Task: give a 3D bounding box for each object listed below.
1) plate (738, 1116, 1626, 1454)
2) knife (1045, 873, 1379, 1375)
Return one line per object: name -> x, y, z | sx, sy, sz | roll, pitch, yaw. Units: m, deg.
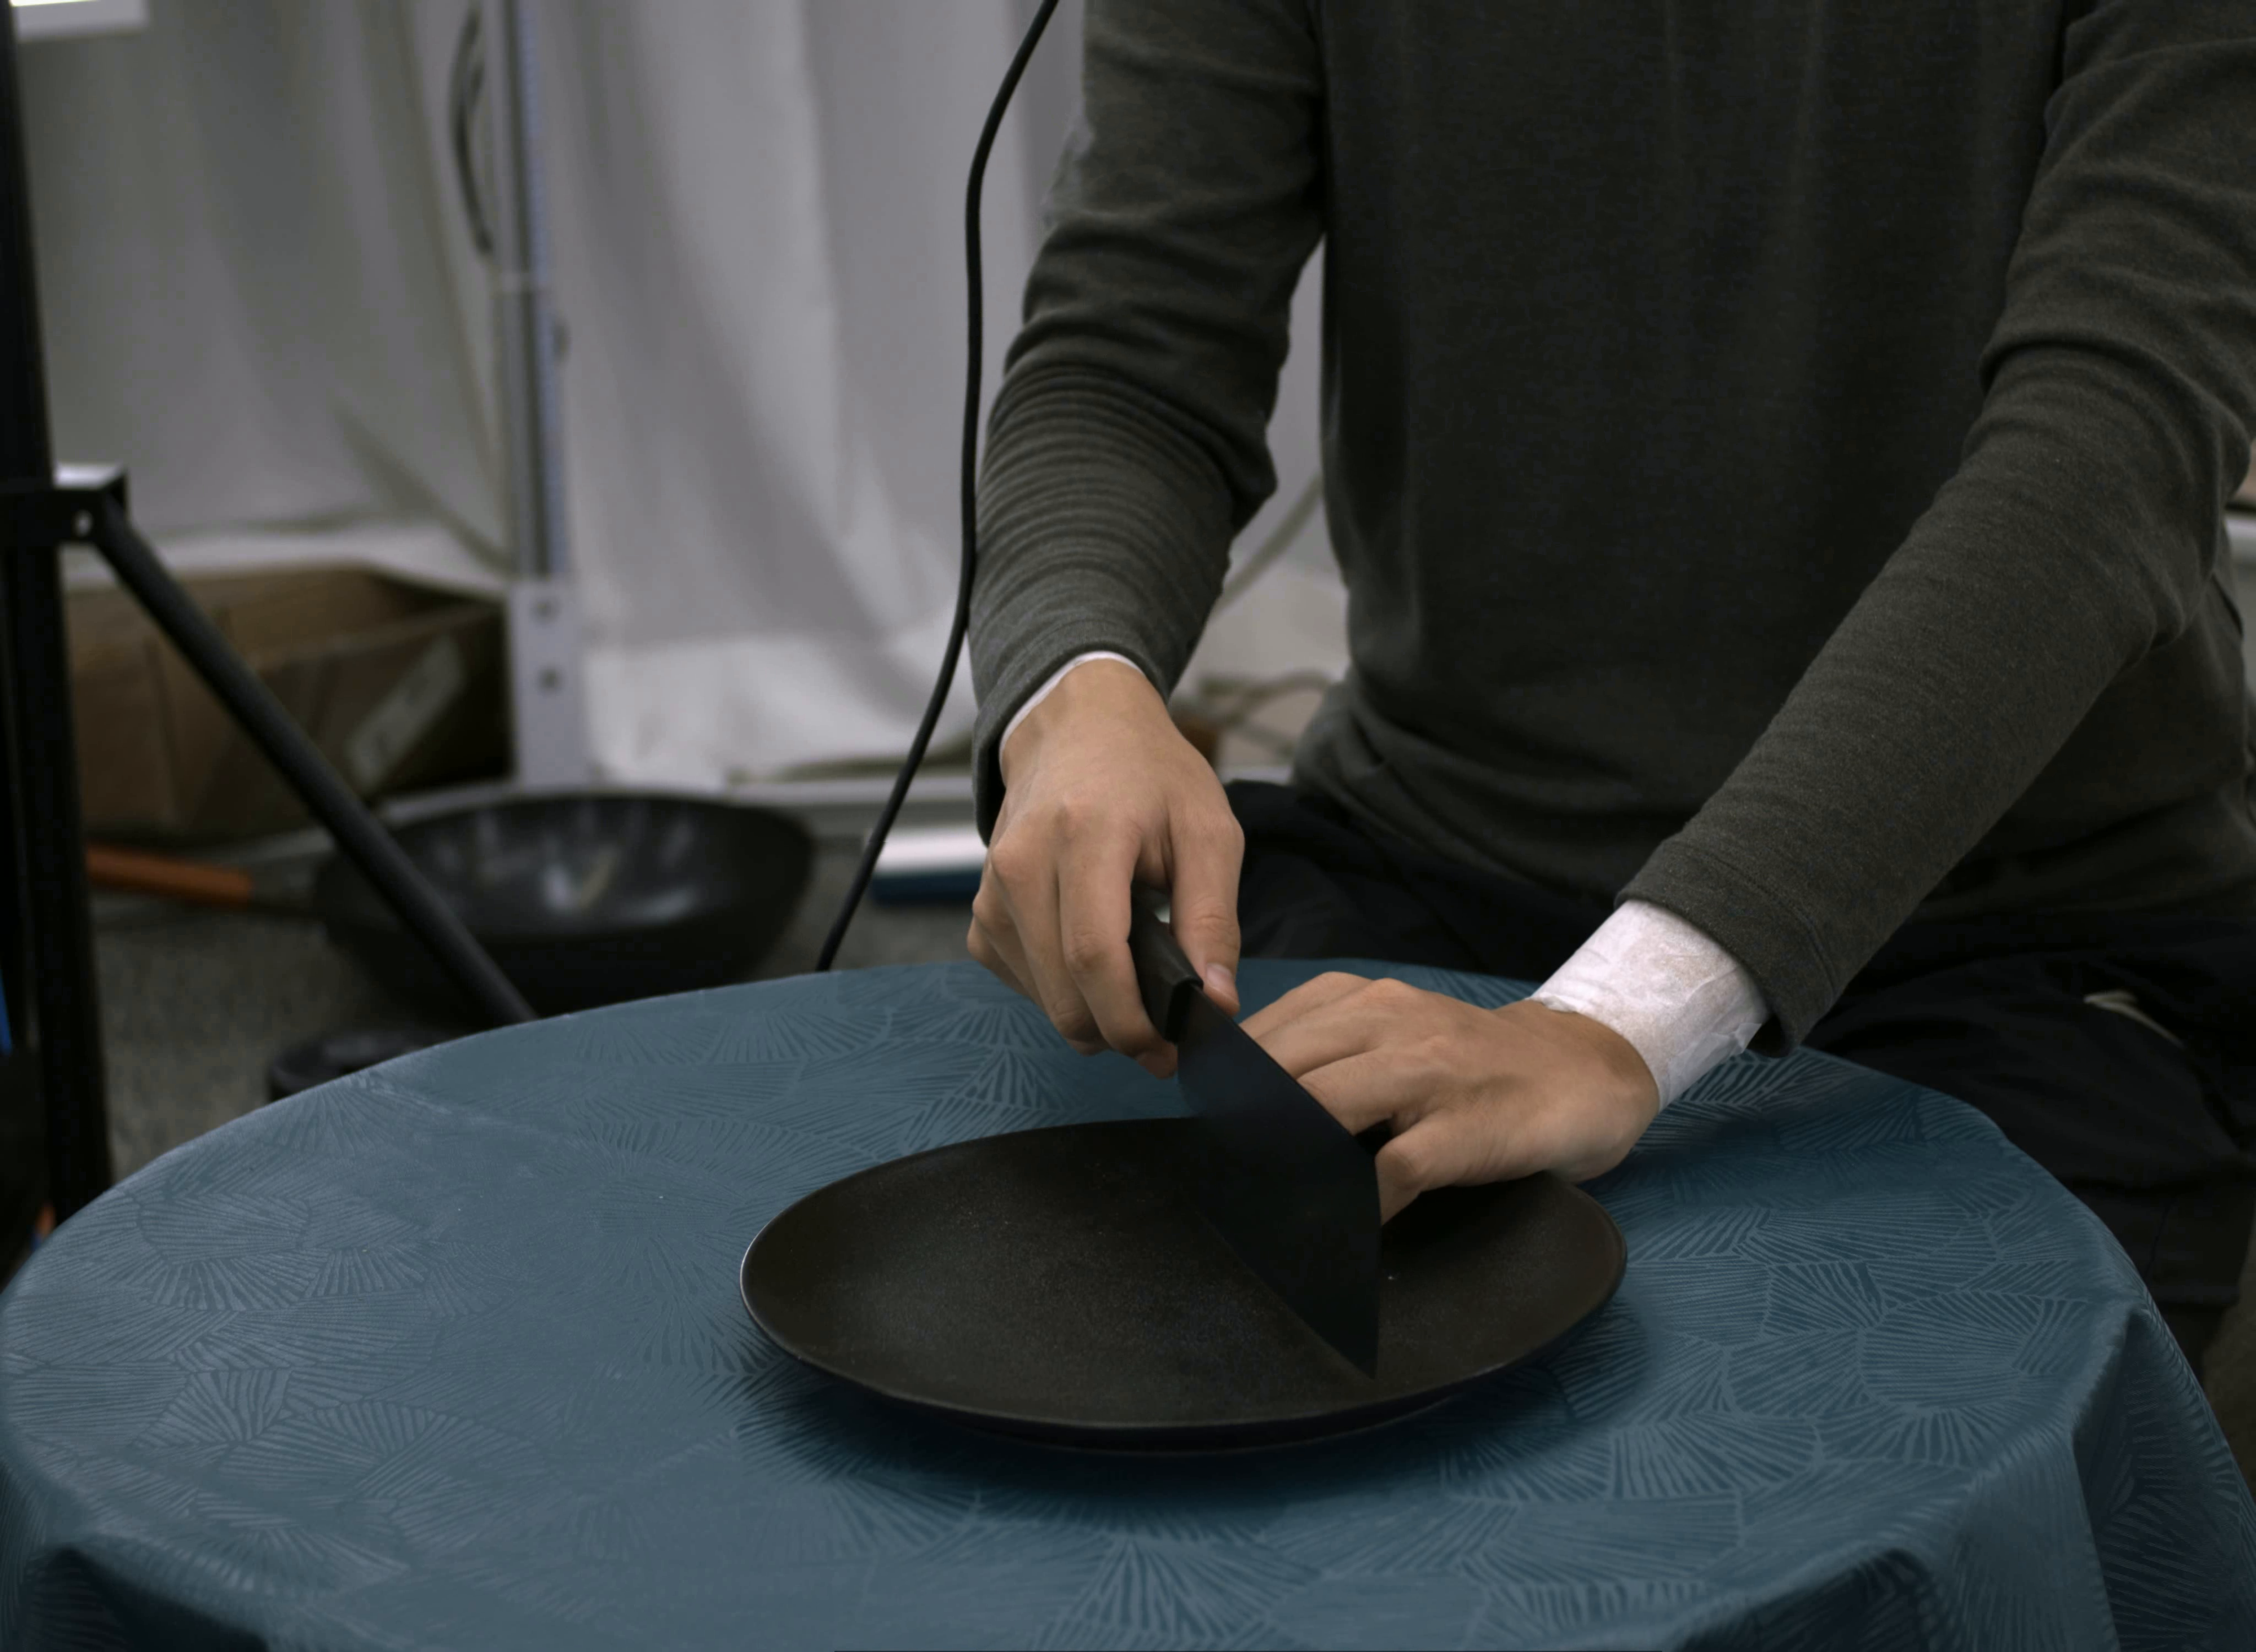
plate -> 0.015, 0.128, 1.449 | 0.243, 0.023, 0.245 | -2, 16, -1
knife -> 0.023, 0.075, 1.498 | 0.020, 0.081, 0.307 | -3, 19, -15
